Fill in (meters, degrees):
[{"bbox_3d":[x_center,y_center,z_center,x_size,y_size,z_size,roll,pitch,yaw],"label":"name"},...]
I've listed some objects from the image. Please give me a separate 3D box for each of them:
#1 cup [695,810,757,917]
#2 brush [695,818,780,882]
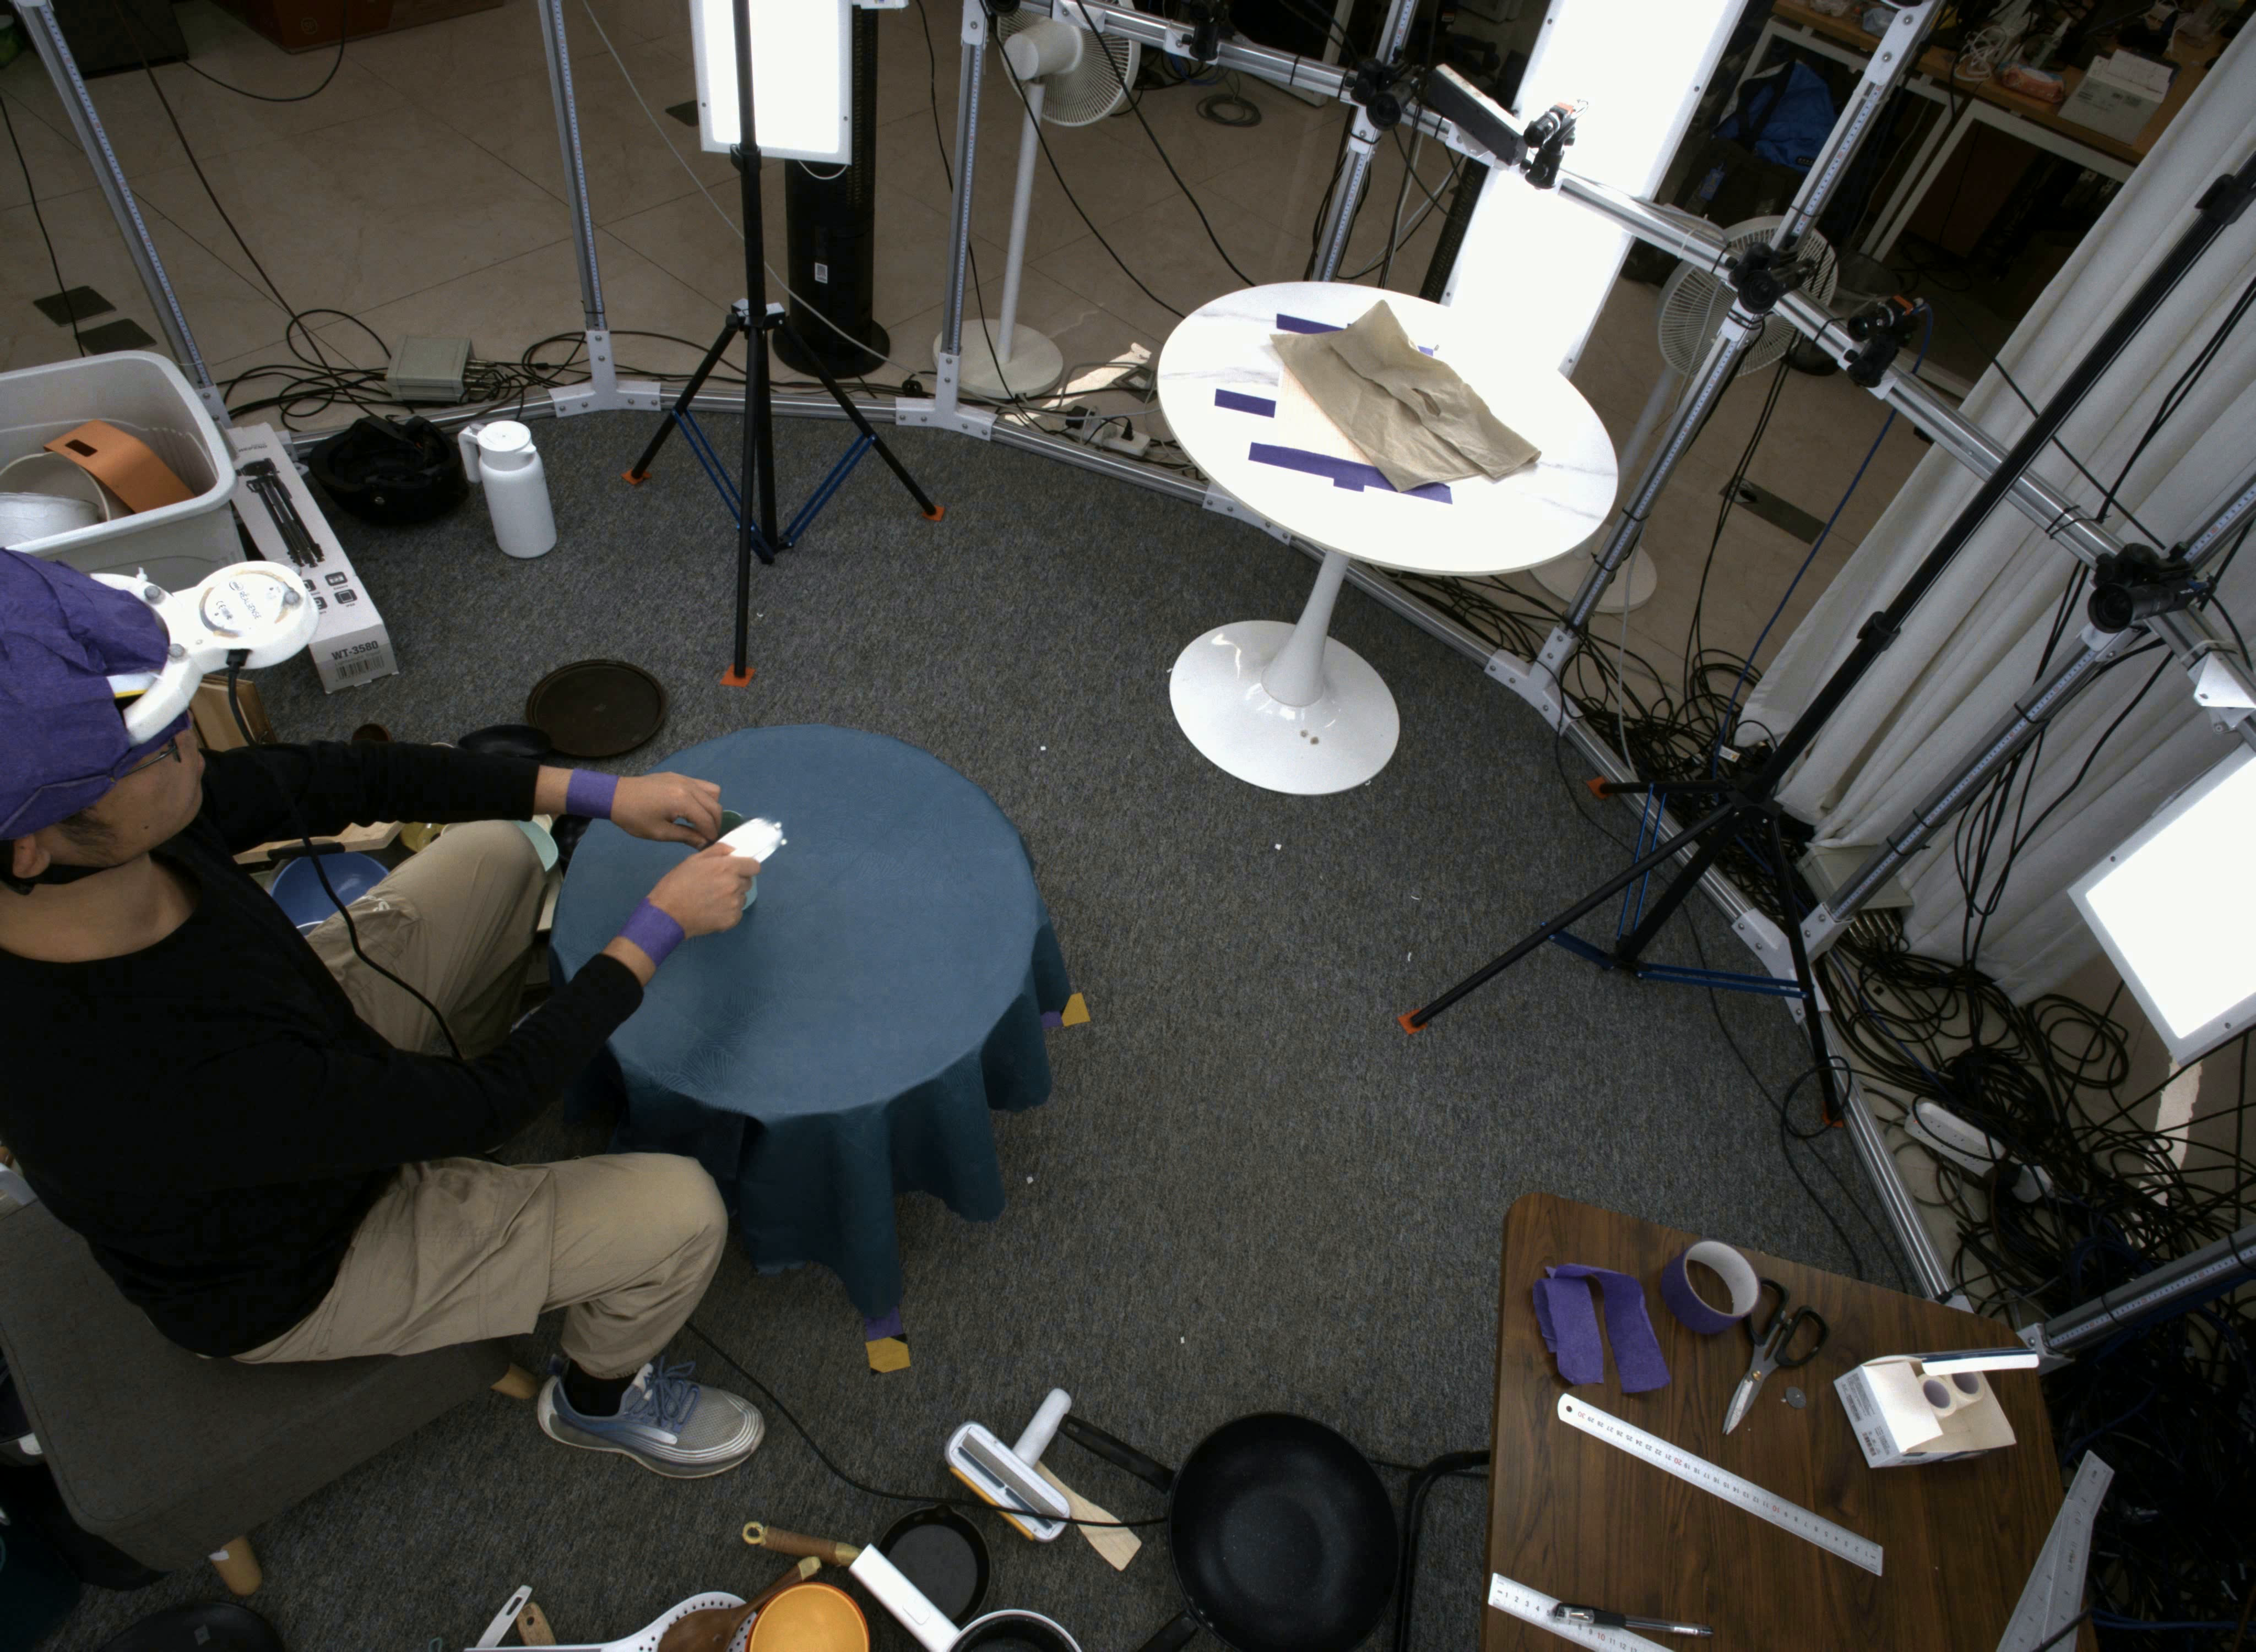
[{"bbox_3d":[-0.494,0.047,1.596,0.066,0.135,0.065,7,51,-7],"label":"cup"},{"bbox_3d":[-0.449,0.026,1.499,0.099,0.070,0.051,-35,107,-27],"label":"brush"}]
